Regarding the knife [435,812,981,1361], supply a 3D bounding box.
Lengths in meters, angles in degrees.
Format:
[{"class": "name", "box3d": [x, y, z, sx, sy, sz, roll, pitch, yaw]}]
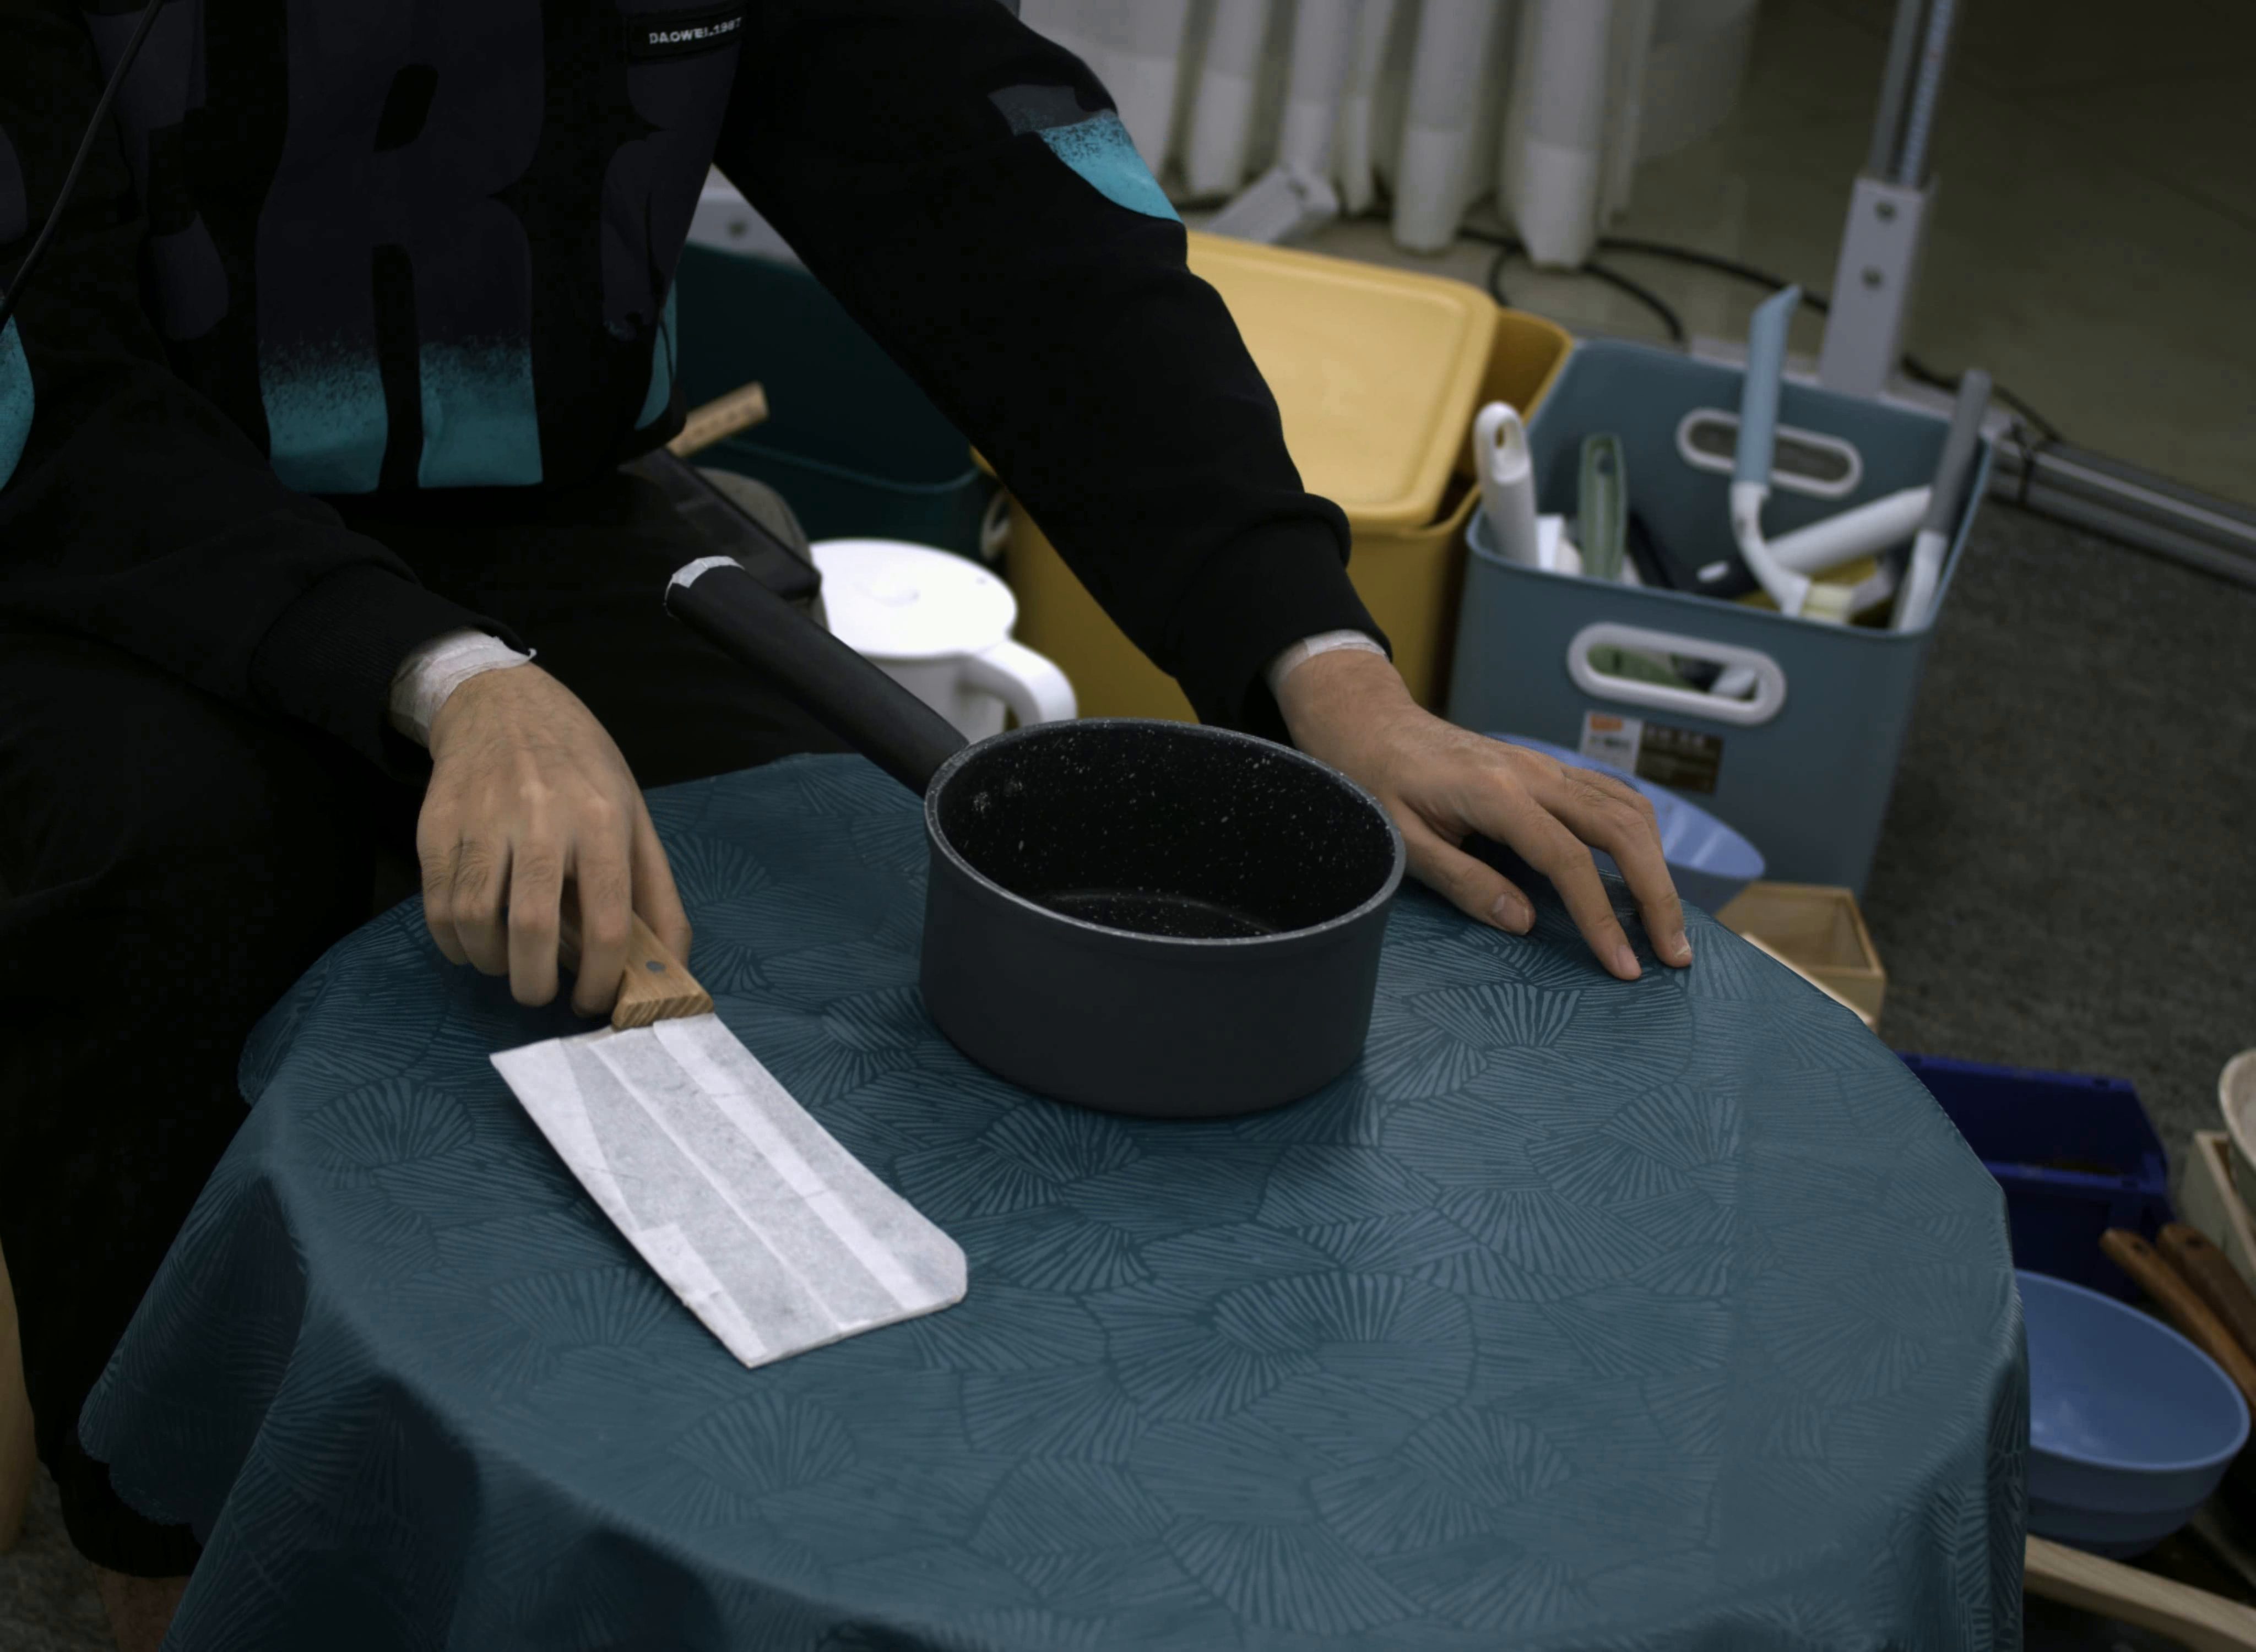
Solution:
[{"class": "knife", "box3d": [-0.157, 0.084, 1.814, 0.113, 0.021, 0.318, -9, 35, -28]}]

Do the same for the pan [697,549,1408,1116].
[{"class": "pan", "box3d": [-0.046, -0.001, 1.944, 0.171, 0.086, 0.331, -17, 36, -42]}]
